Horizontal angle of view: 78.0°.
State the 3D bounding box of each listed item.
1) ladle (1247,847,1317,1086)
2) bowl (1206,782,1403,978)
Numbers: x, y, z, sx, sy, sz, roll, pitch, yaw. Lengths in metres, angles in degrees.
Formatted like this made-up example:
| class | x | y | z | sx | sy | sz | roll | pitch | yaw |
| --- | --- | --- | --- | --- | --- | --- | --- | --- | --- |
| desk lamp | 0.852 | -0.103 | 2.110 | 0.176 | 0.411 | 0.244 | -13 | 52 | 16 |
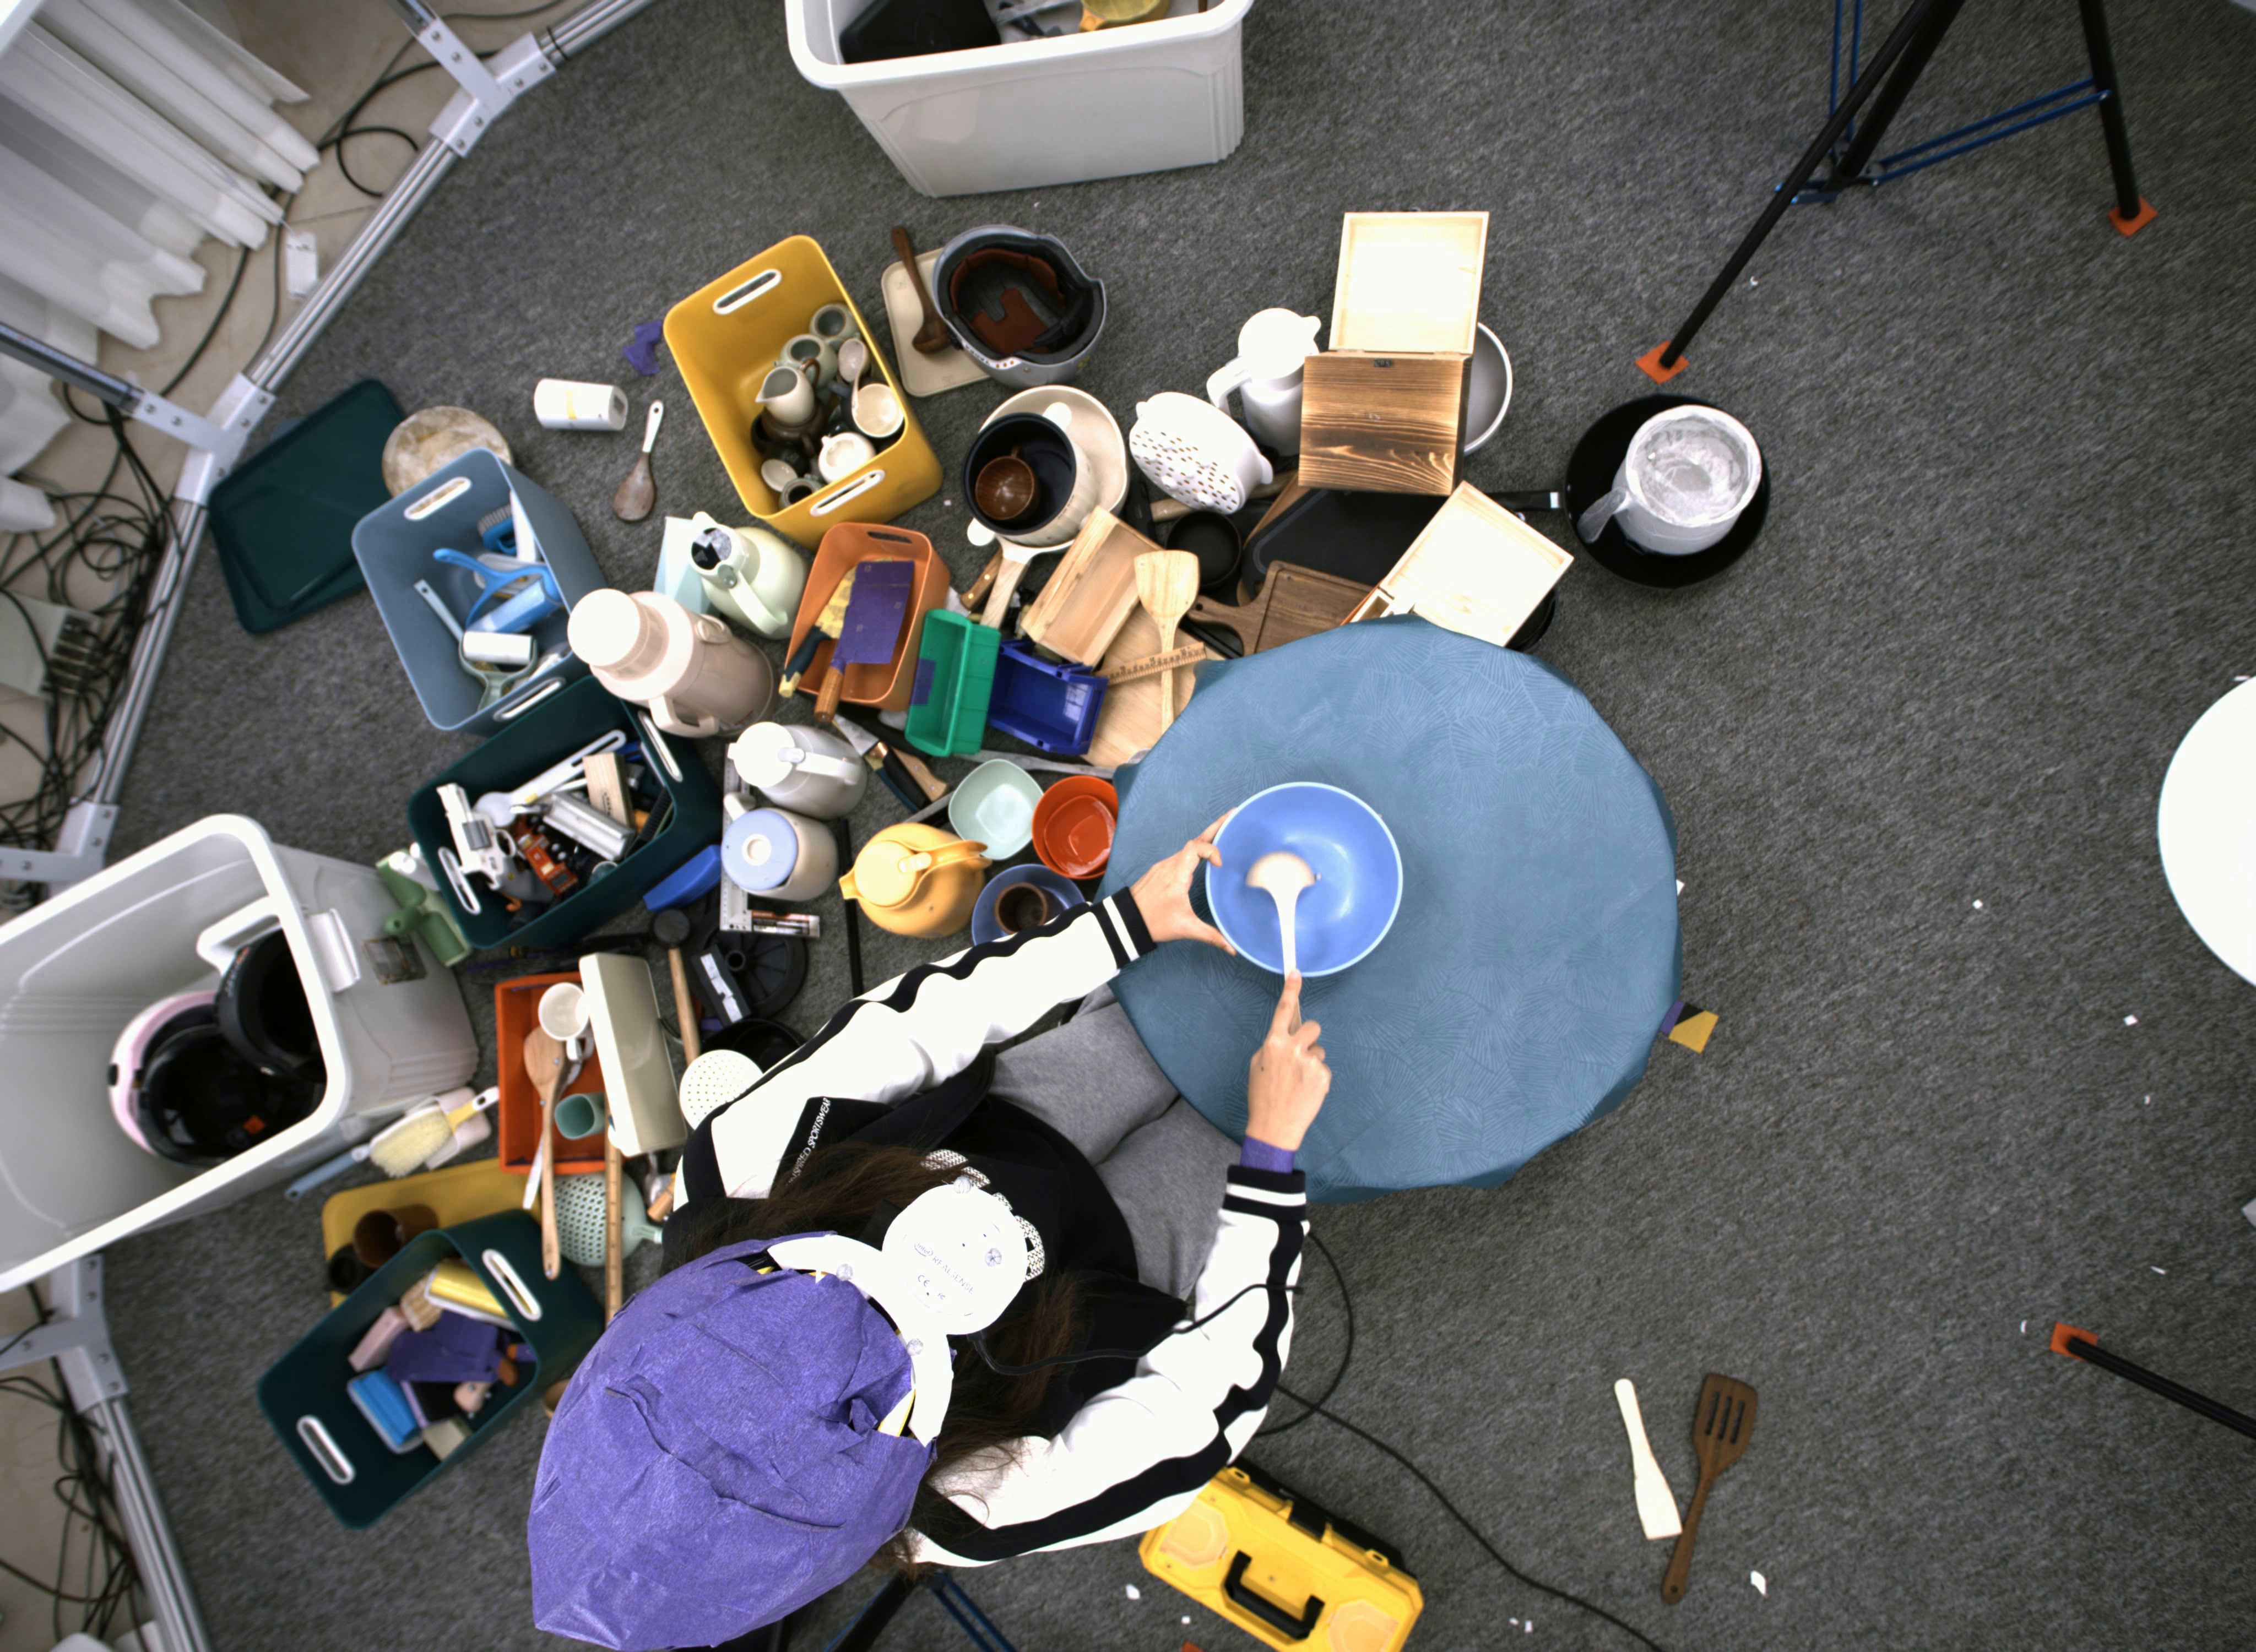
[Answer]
| class | x | y | z | sx | sy | sz | roll | pitch | yaw |
| --- | --- | --- | --- | --- | --- | --- | --- | --- | --- |
| ladle | 0.158 | 0.143 | 1.398 | 0.072 | 0.074 | 0.250 | 0 | 69 | 0 |
| bowl | 0.182 | 0.056 | 1.432 | 0.197 | 0.095 | 0.196 | 0 | 88 | 8 |
